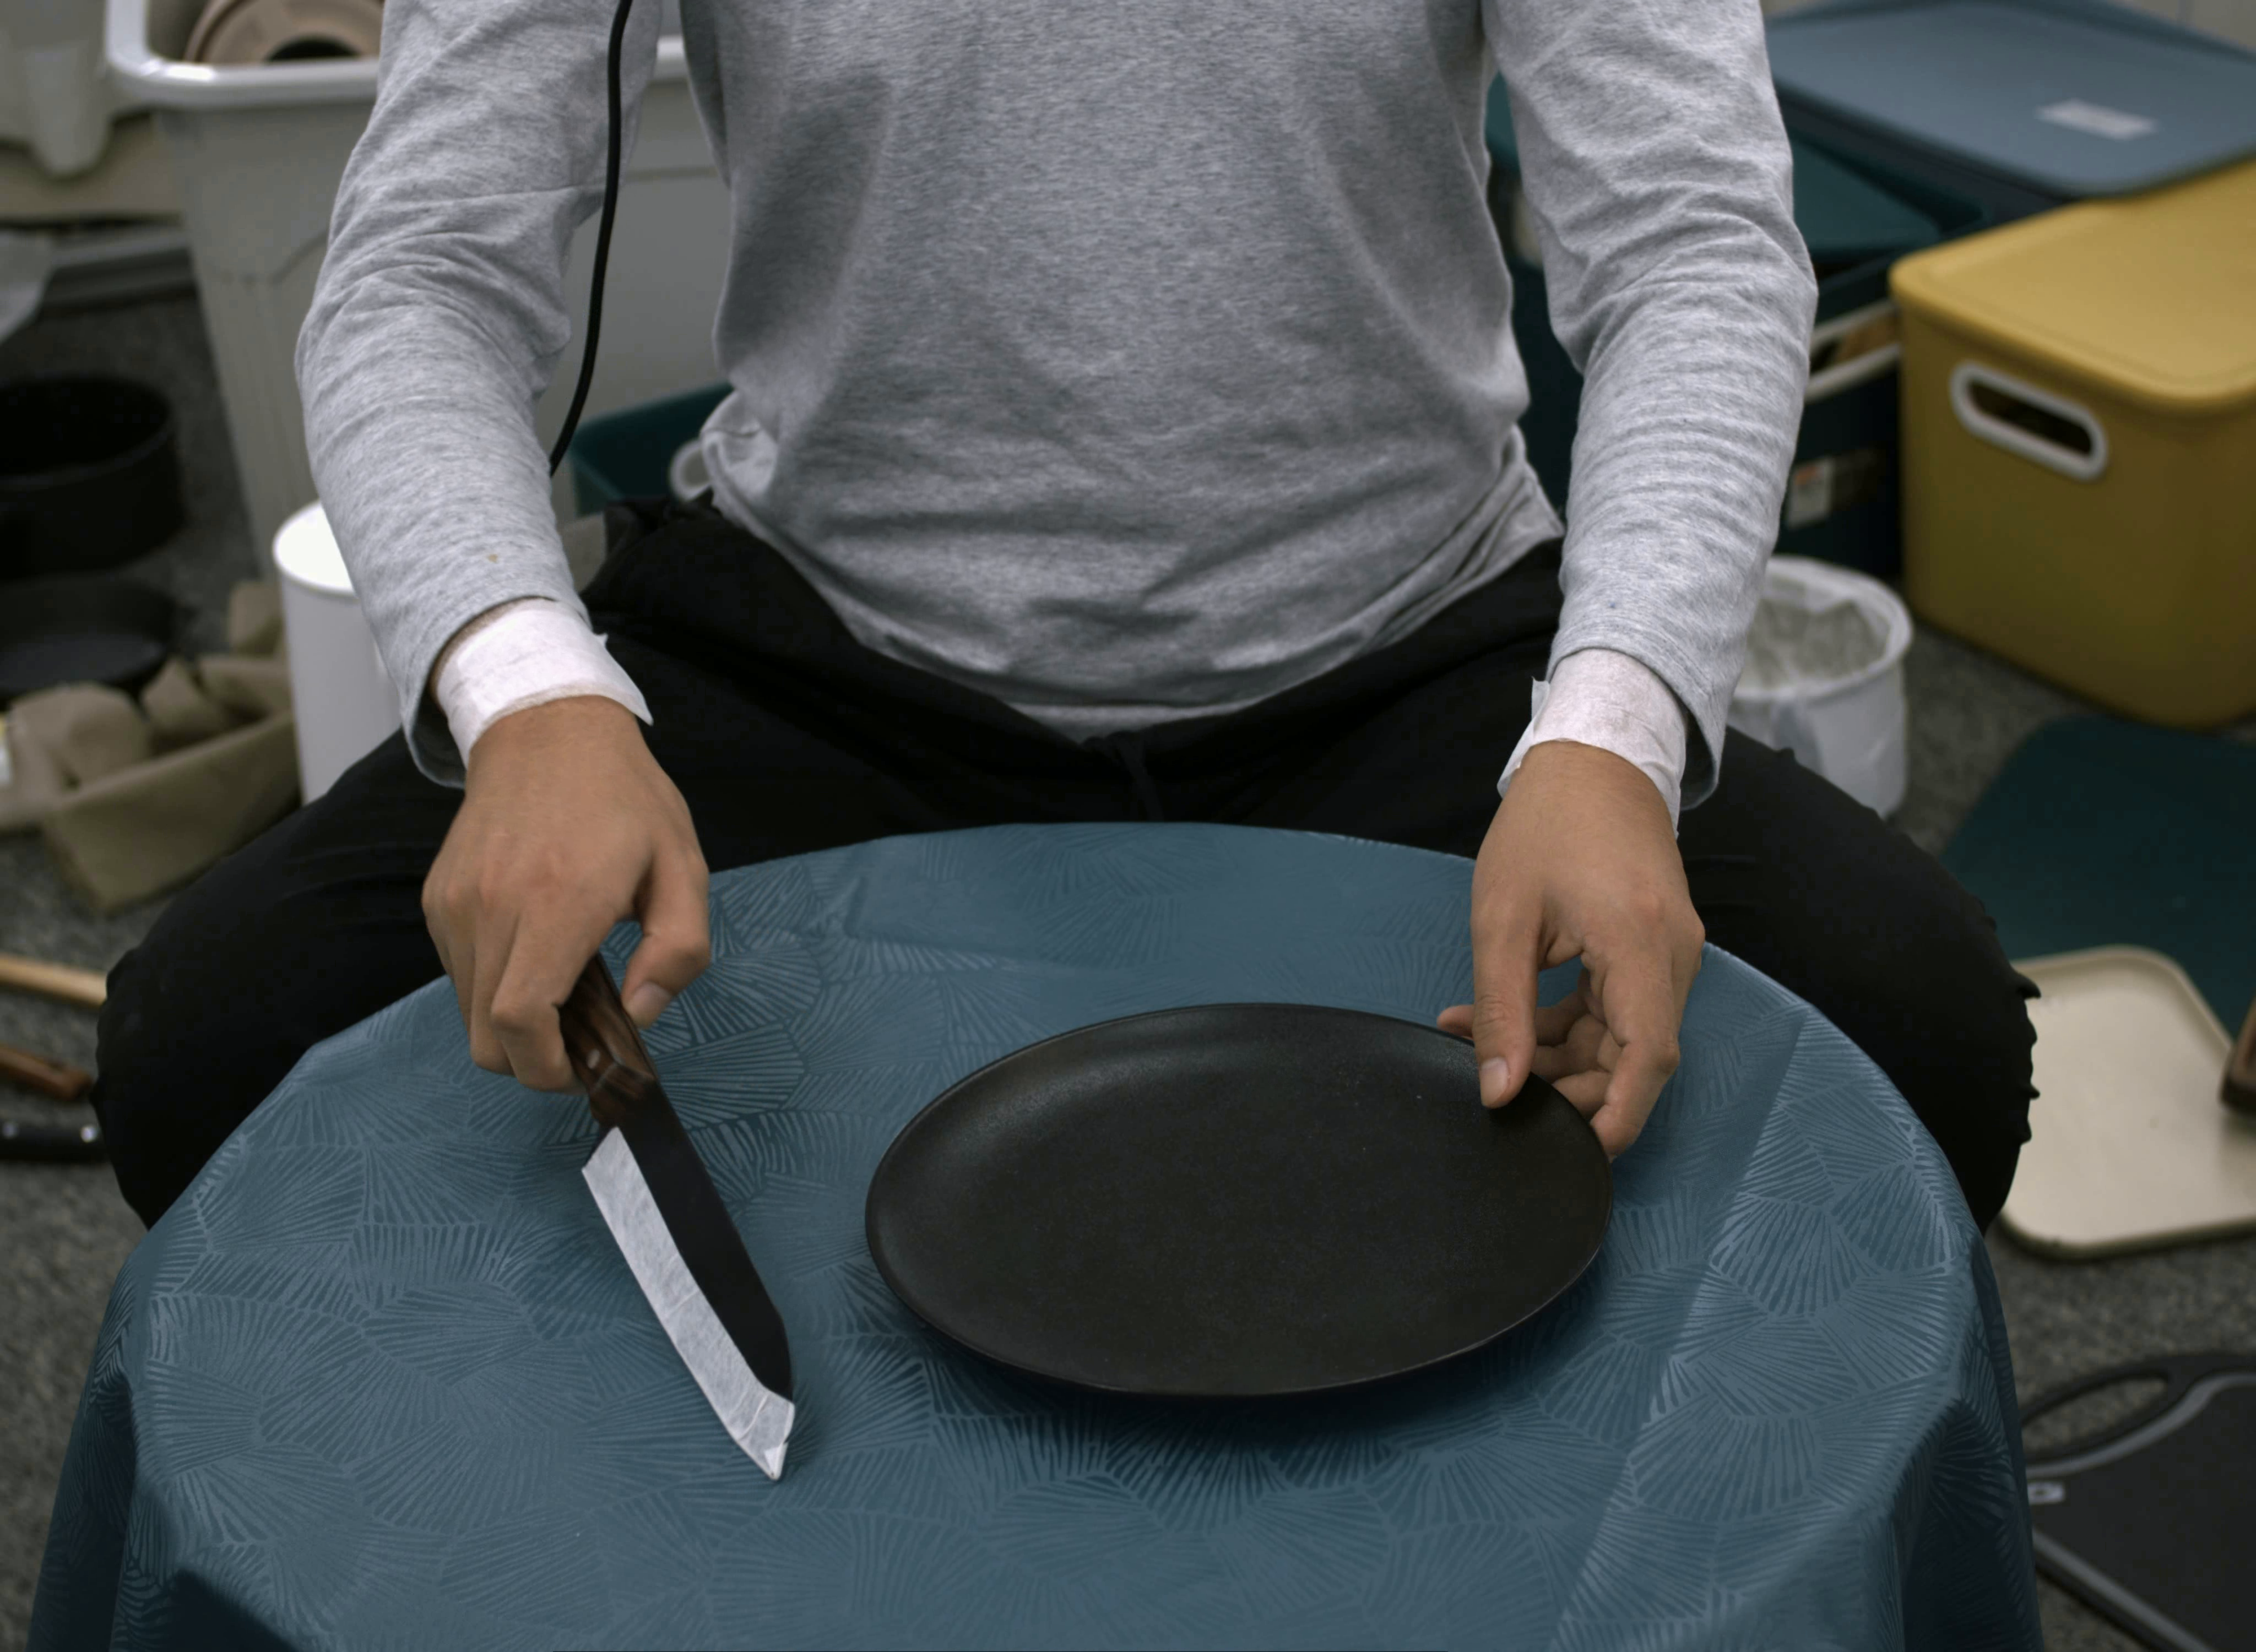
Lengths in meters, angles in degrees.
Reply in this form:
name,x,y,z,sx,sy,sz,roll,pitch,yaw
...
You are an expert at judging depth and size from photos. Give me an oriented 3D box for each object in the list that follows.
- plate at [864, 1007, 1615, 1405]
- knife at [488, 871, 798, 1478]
name,x,y,z,sx,sy,sz,roll,pitch,yaw
plate,0.036,0.127,1.823,0.243,0.023,0.248,-2,27,1
knife,-0.157,0.109,1.817,0.020,0.050,0.293,22,25,-38
